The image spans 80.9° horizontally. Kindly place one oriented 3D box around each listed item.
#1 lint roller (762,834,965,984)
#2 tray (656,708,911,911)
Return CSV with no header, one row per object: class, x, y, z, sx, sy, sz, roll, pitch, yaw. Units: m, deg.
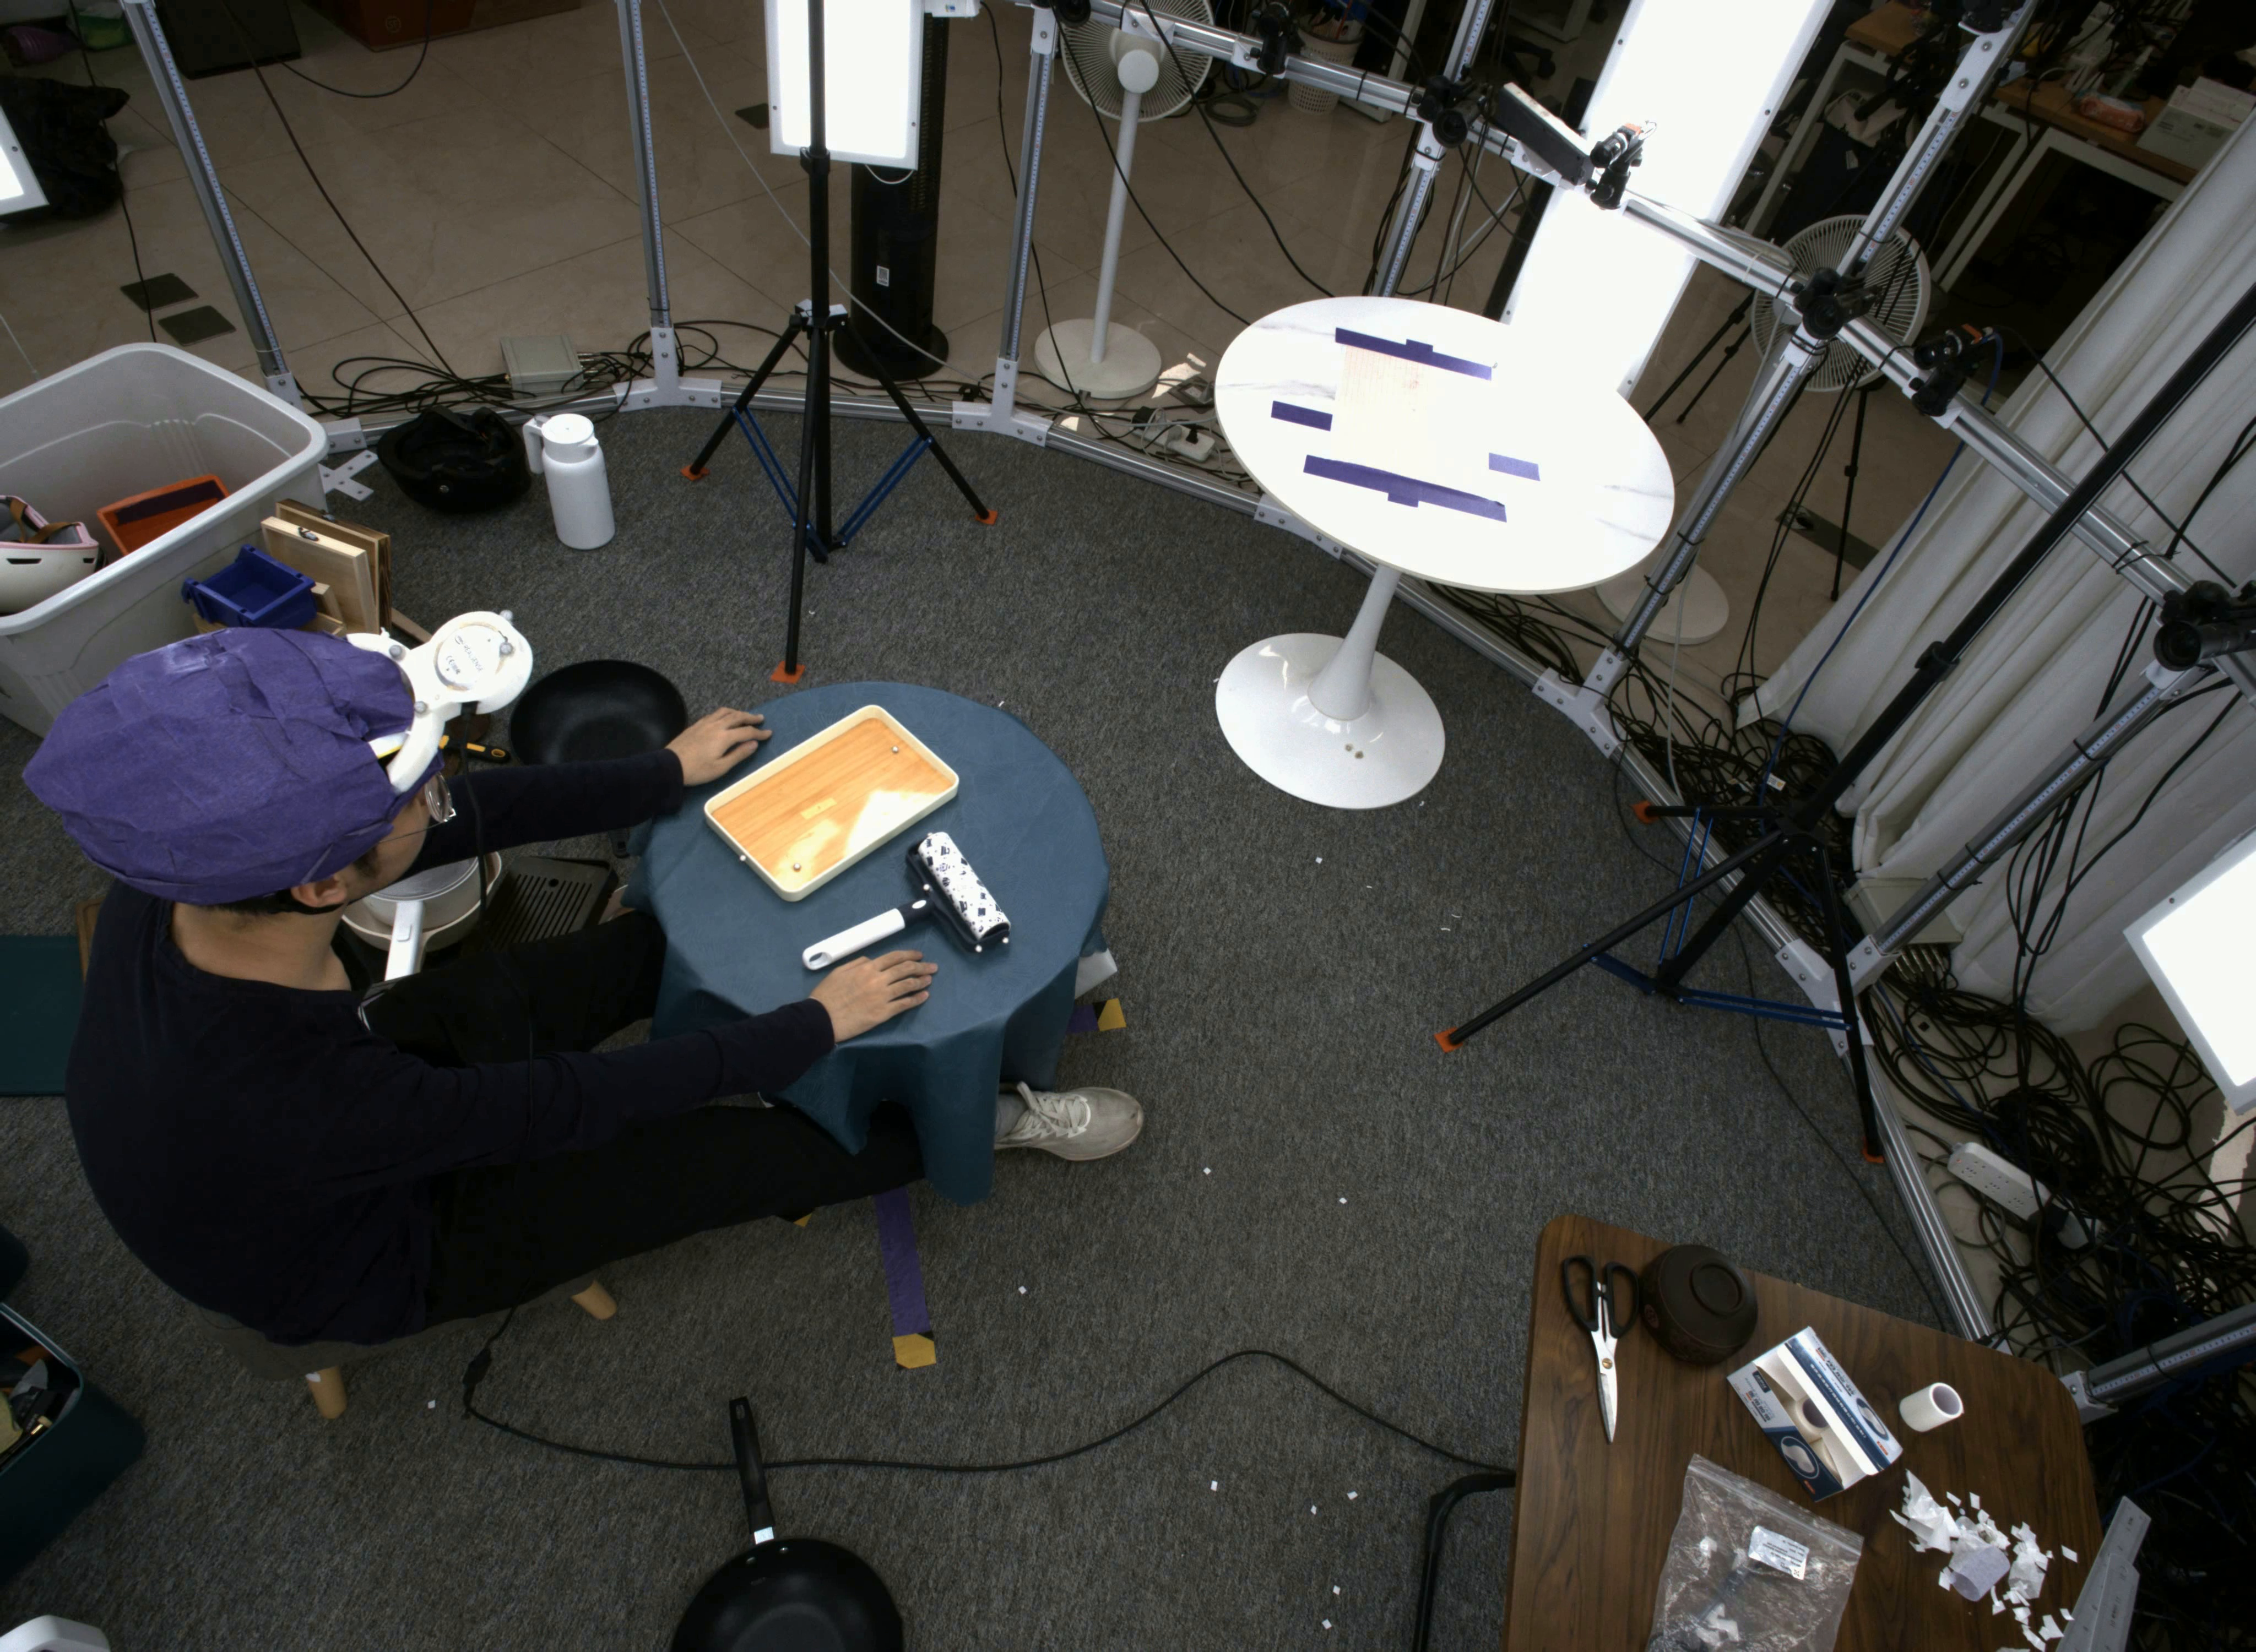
lint roller,-0.348,0.124,1.635,0.248,0.051,0.172,-30,66,-28
tray,-0.456,-0.029,1.731,0.187,0.028,0.300,39,55,15
